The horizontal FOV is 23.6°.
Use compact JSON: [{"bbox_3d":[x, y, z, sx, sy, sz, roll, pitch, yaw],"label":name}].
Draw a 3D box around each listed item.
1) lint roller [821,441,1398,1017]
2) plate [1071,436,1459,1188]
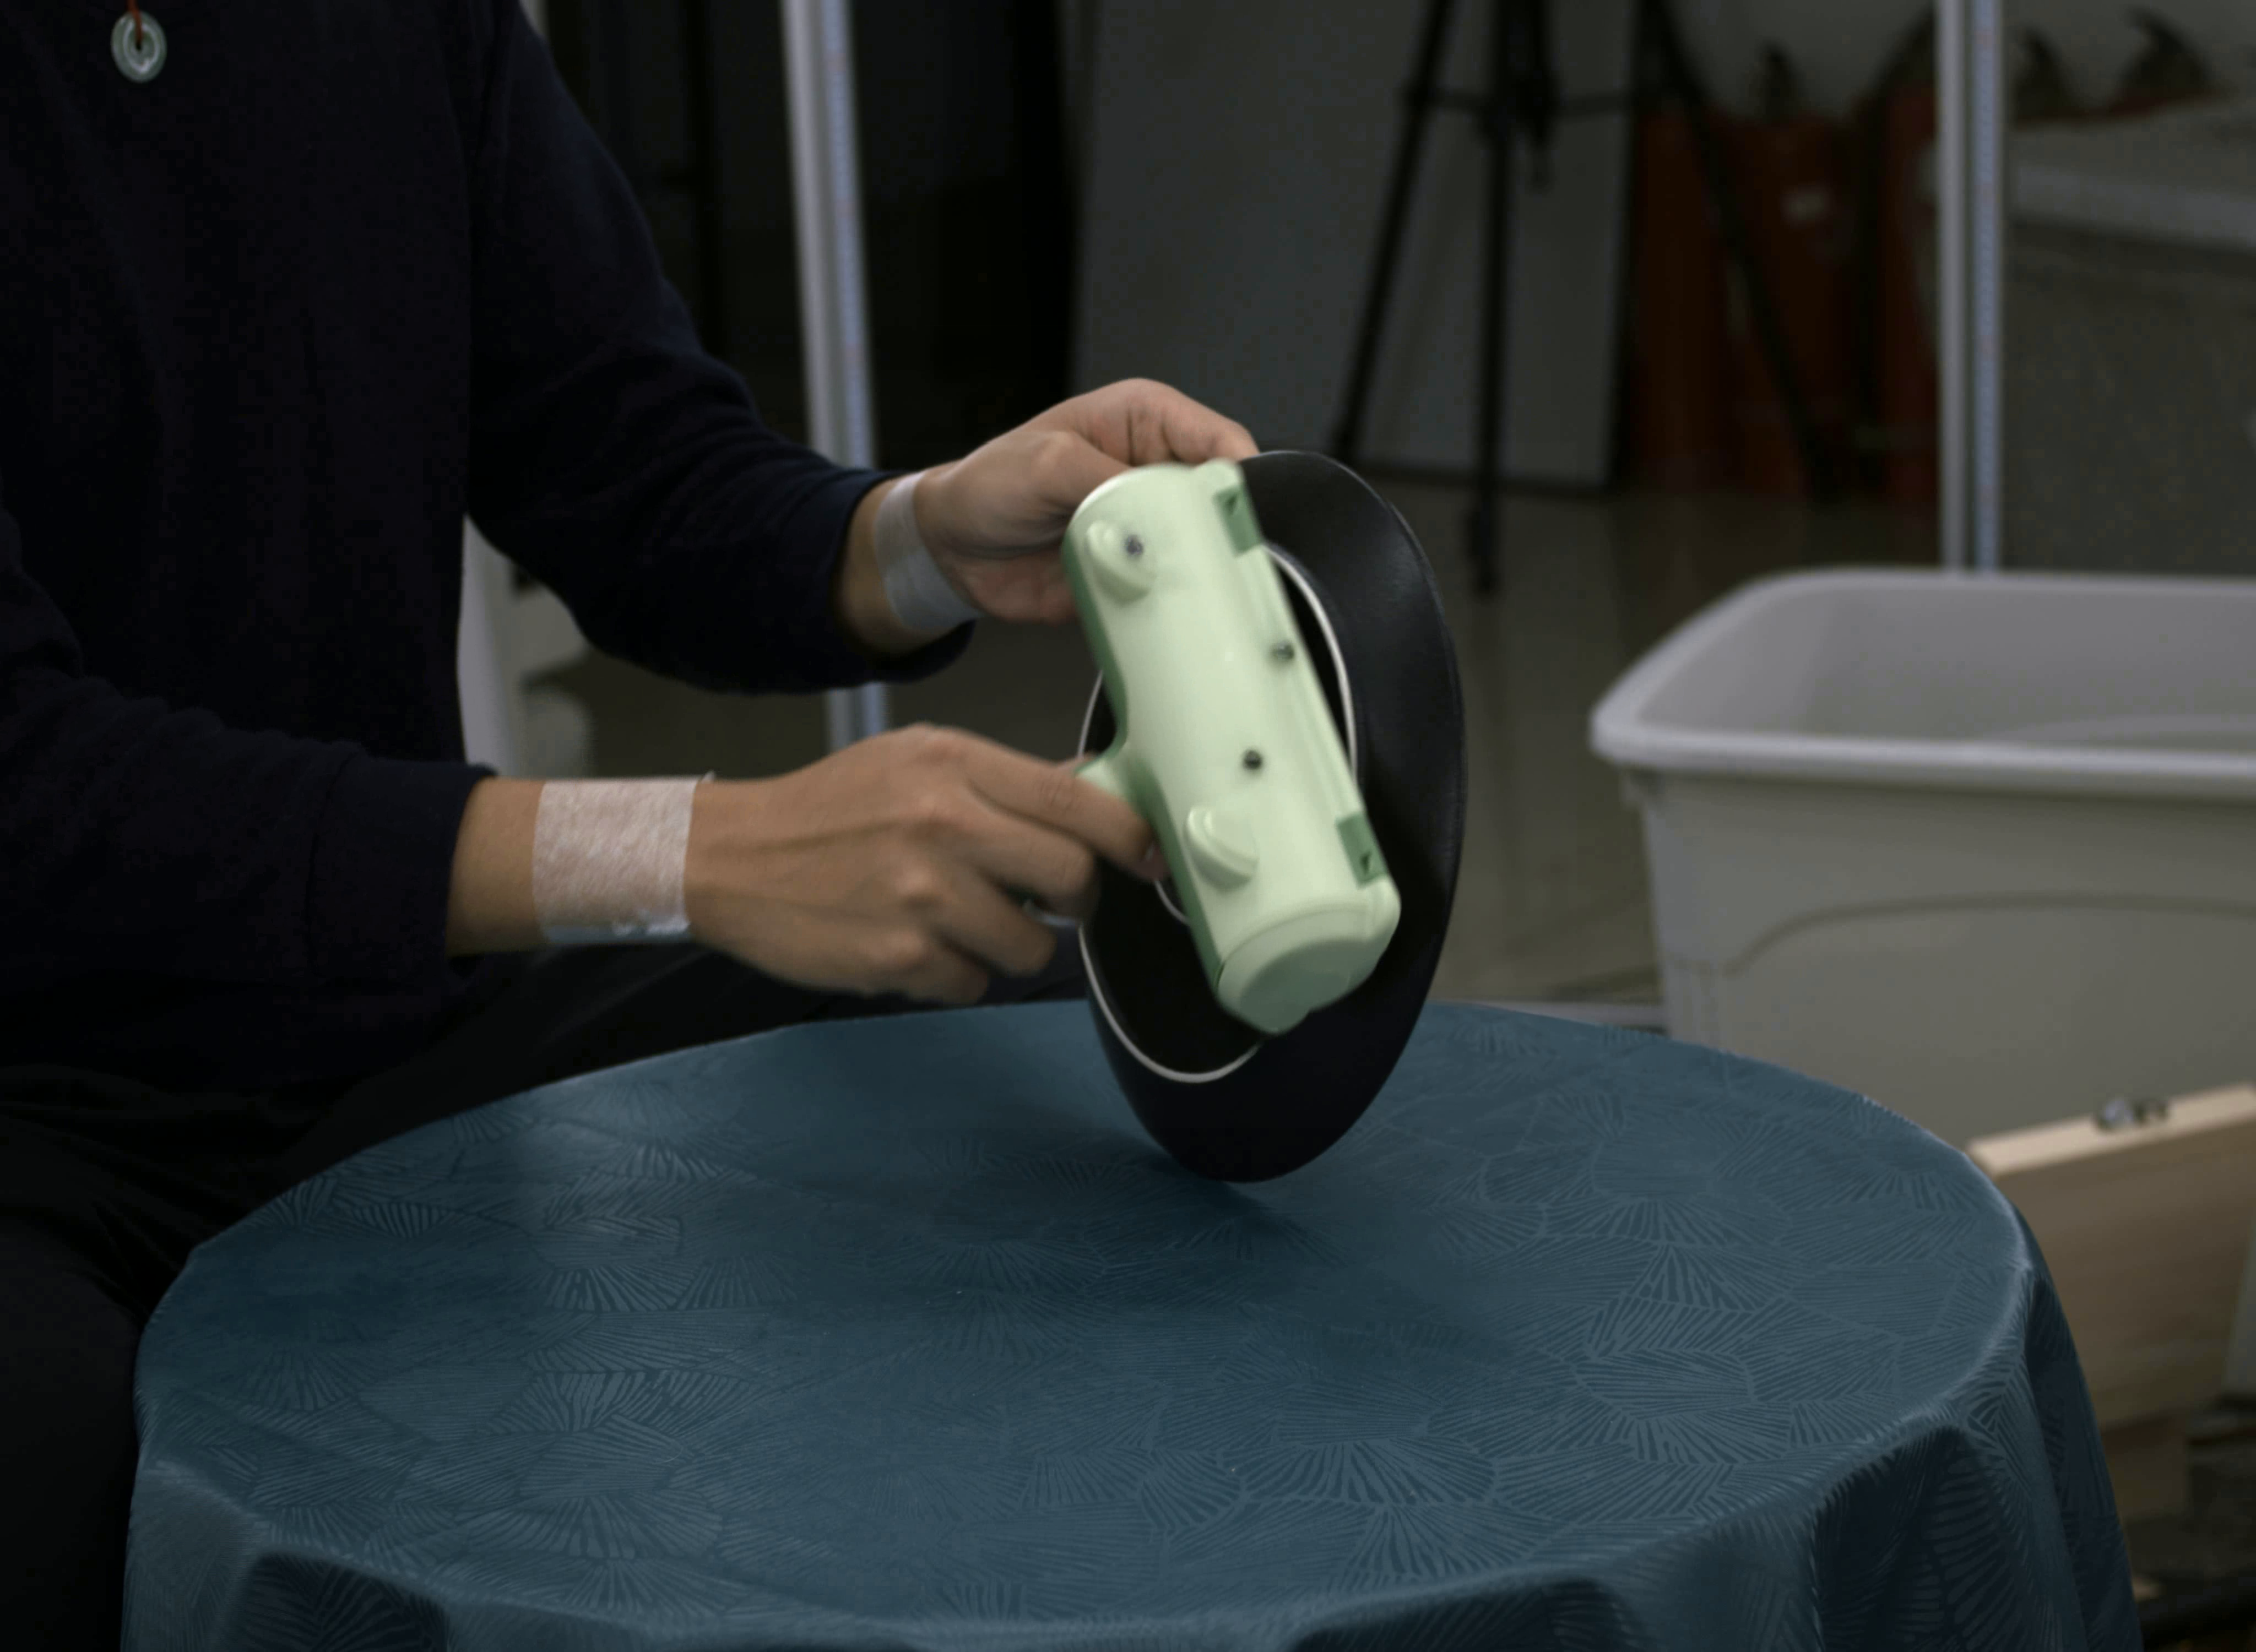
[{"bbox_3d":[-0.024,-0.015,1.708,0.182,0.081,0.201,-23,54,6],"label":"lint roller"},{"bbox_3d":[0.034,-0.005,1.765,0.023,0.247,0.247,5,8,-29],"label":"plate"}]
